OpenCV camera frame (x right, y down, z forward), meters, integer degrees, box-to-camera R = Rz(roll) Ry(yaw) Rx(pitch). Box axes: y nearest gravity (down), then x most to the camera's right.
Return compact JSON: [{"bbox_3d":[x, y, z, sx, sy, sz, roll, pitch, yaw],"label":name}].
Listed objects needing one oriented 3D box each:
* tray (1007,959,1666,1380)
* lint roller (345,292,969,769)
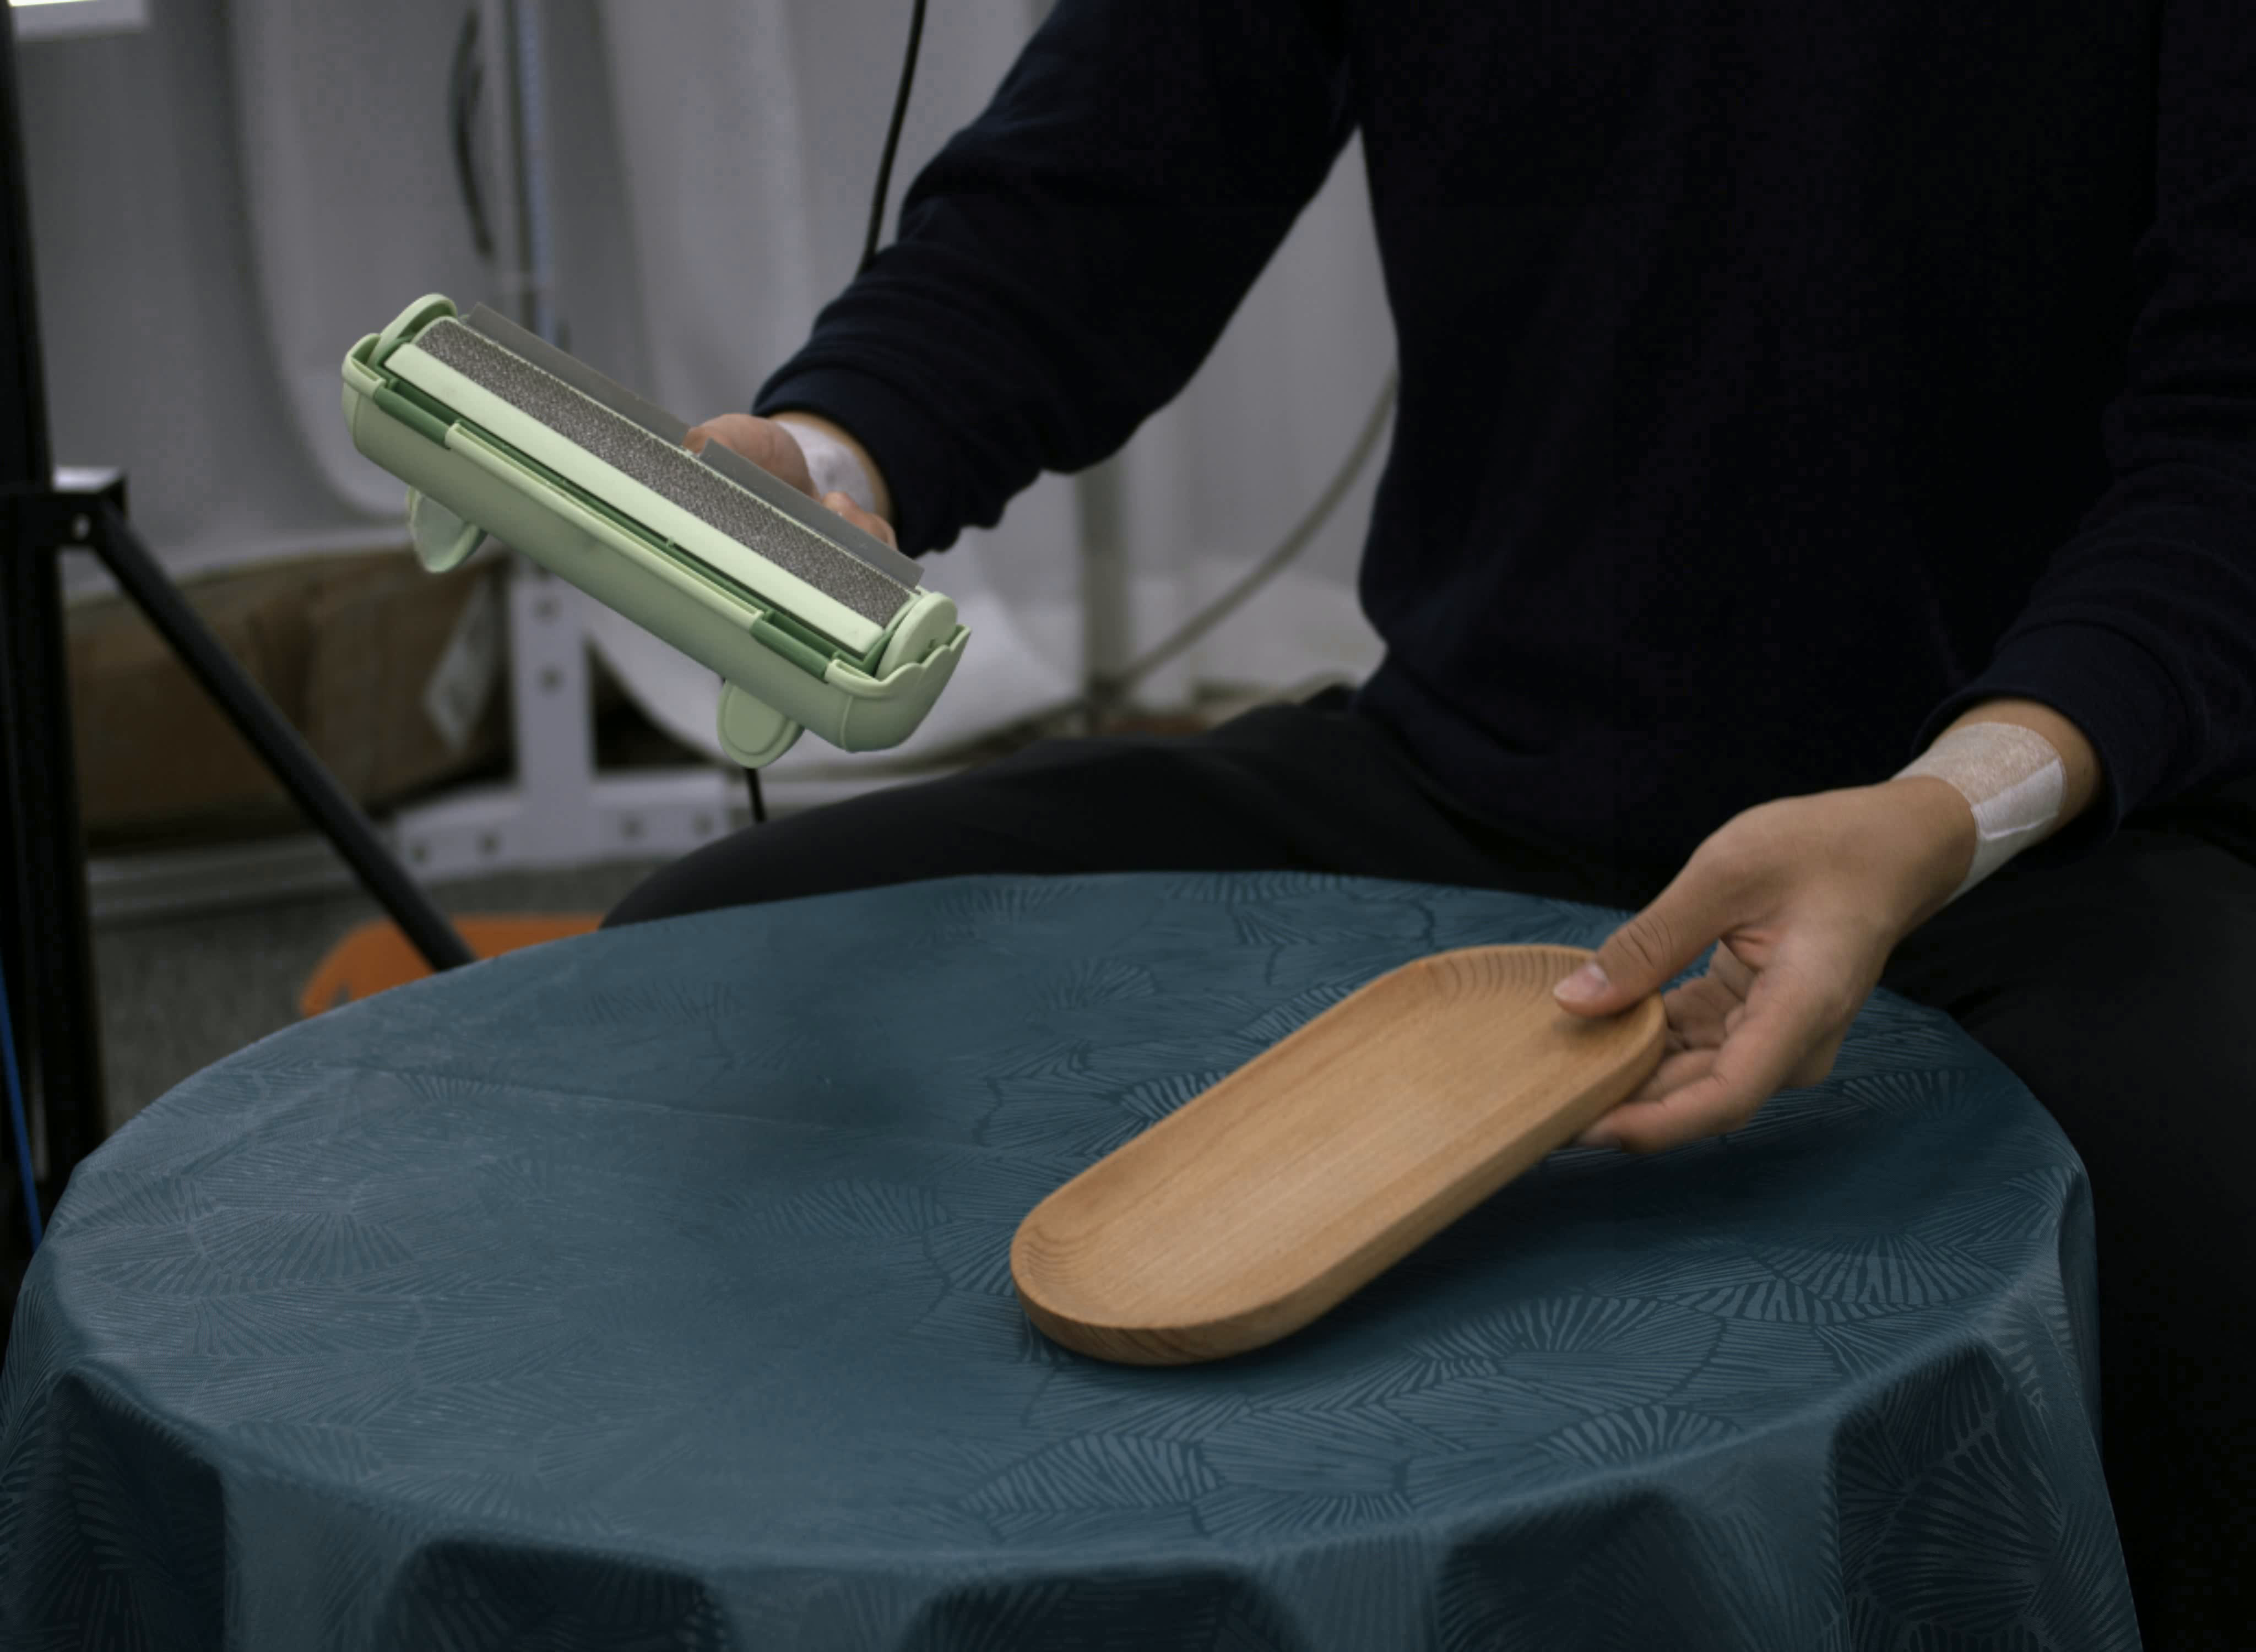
[{"bbox_3d":[0.062,0.094,1.490,0.104,0.020,0.227,13,35,43],"label":"tray"},{"bbox_3d":[-0.135,-0.074,1.622,0.201,0.082,0.181,32,-4,15],"label":"lint roller"}]
